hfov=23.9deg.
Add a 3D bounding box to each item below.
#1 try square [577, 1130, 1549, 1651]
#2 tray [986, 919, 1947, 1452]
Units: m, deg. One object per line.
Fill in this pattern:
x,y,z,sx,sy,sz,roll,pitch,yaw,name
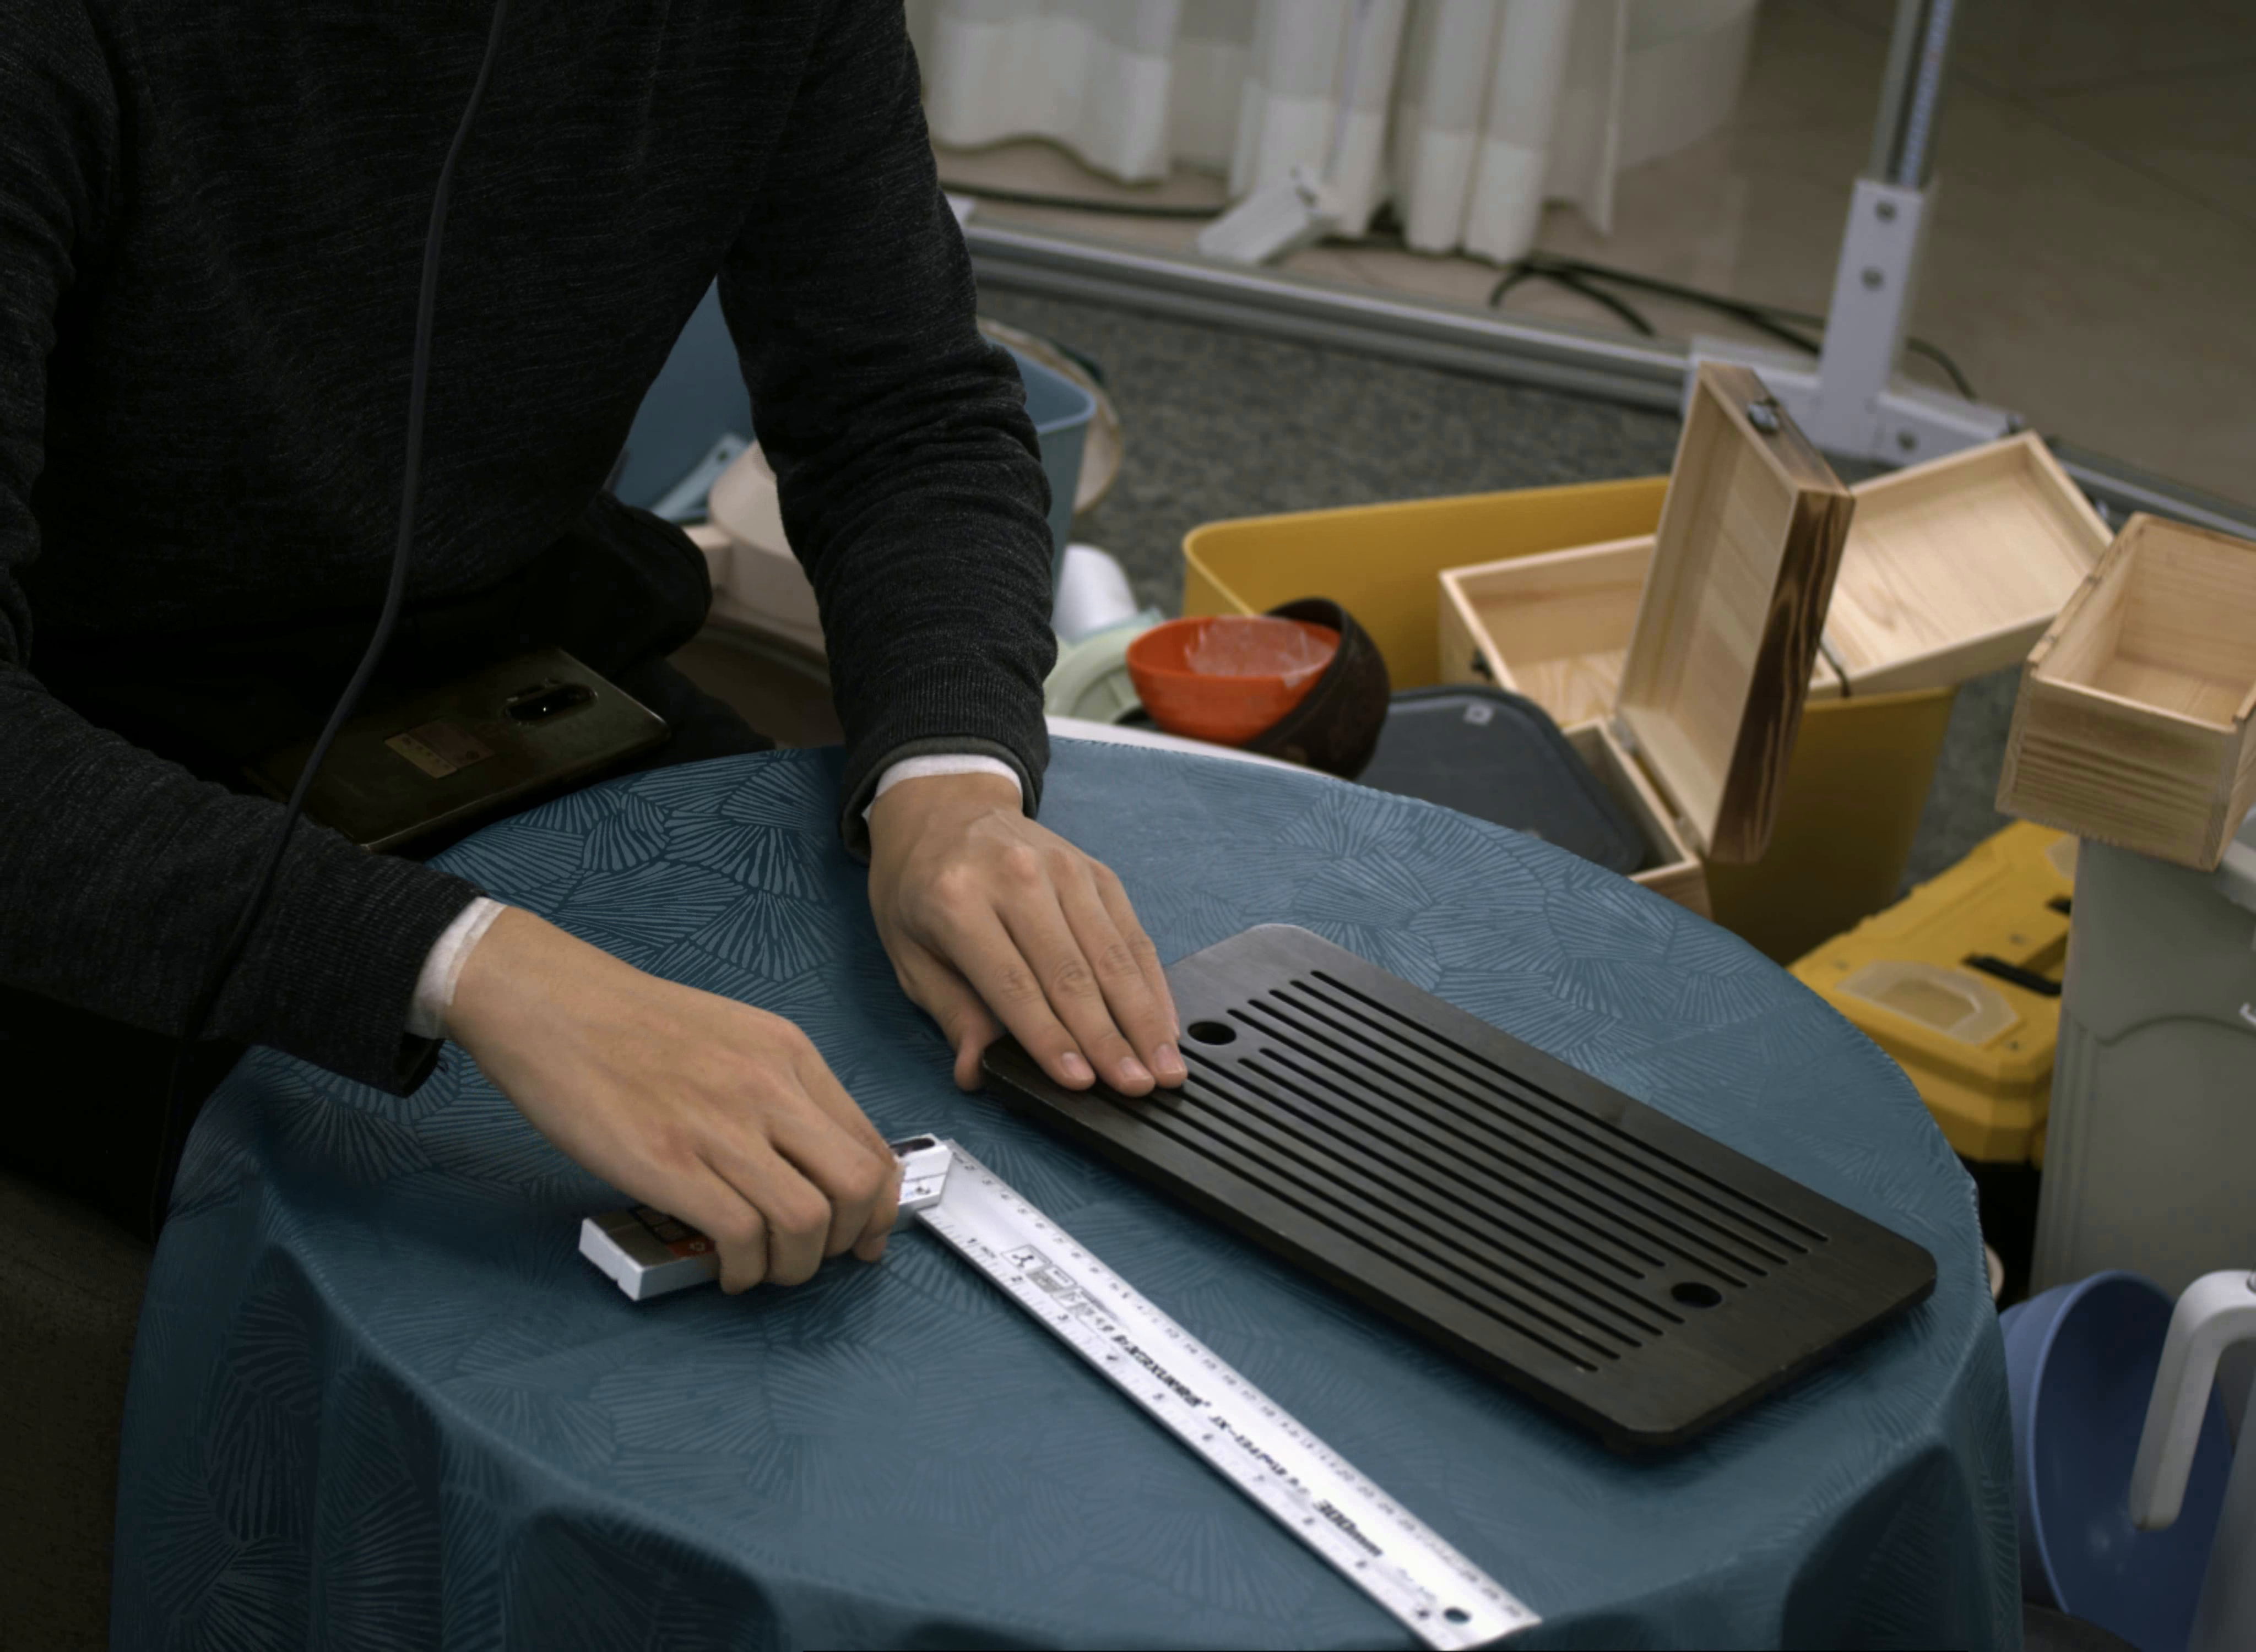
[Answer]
-0.026,0.186,1.663,0.151,0.016,0.315,-13,34,-36,try square
0.112,0.119,1.816,0.308,0.018,0.169,27,34,35,tray
